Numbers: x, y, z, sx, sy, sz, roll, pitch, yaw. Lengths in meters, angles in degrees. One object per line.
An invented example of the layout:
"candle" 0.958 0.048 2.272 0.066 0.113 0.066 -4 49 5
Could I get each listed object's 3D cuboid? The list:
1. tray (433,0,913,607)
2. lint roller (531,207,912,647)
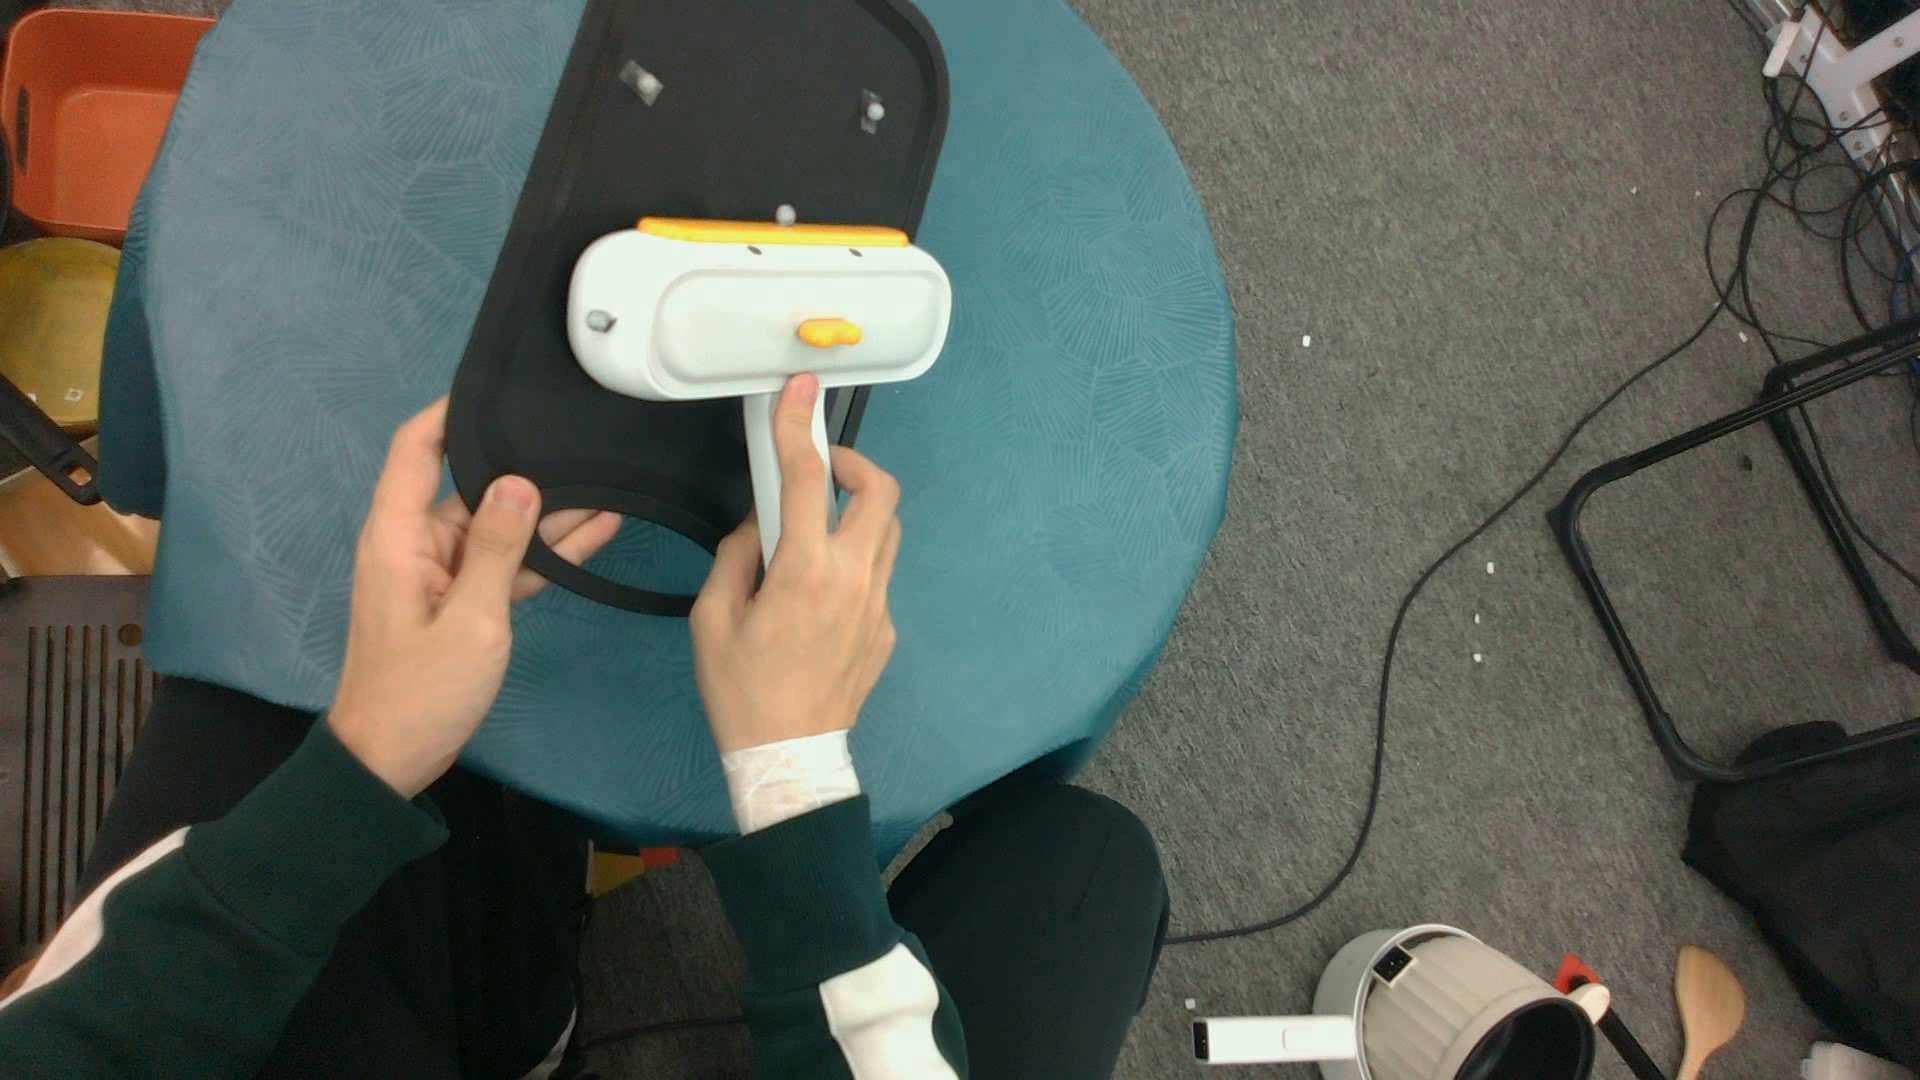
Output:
"tray" -0.114 -0.131 0.619 0.211 0.010 0.326 23 78 -51
"lint roller" -0.090 -0.047 0.614 0.193 0.074 0.192 -23 117 -51
